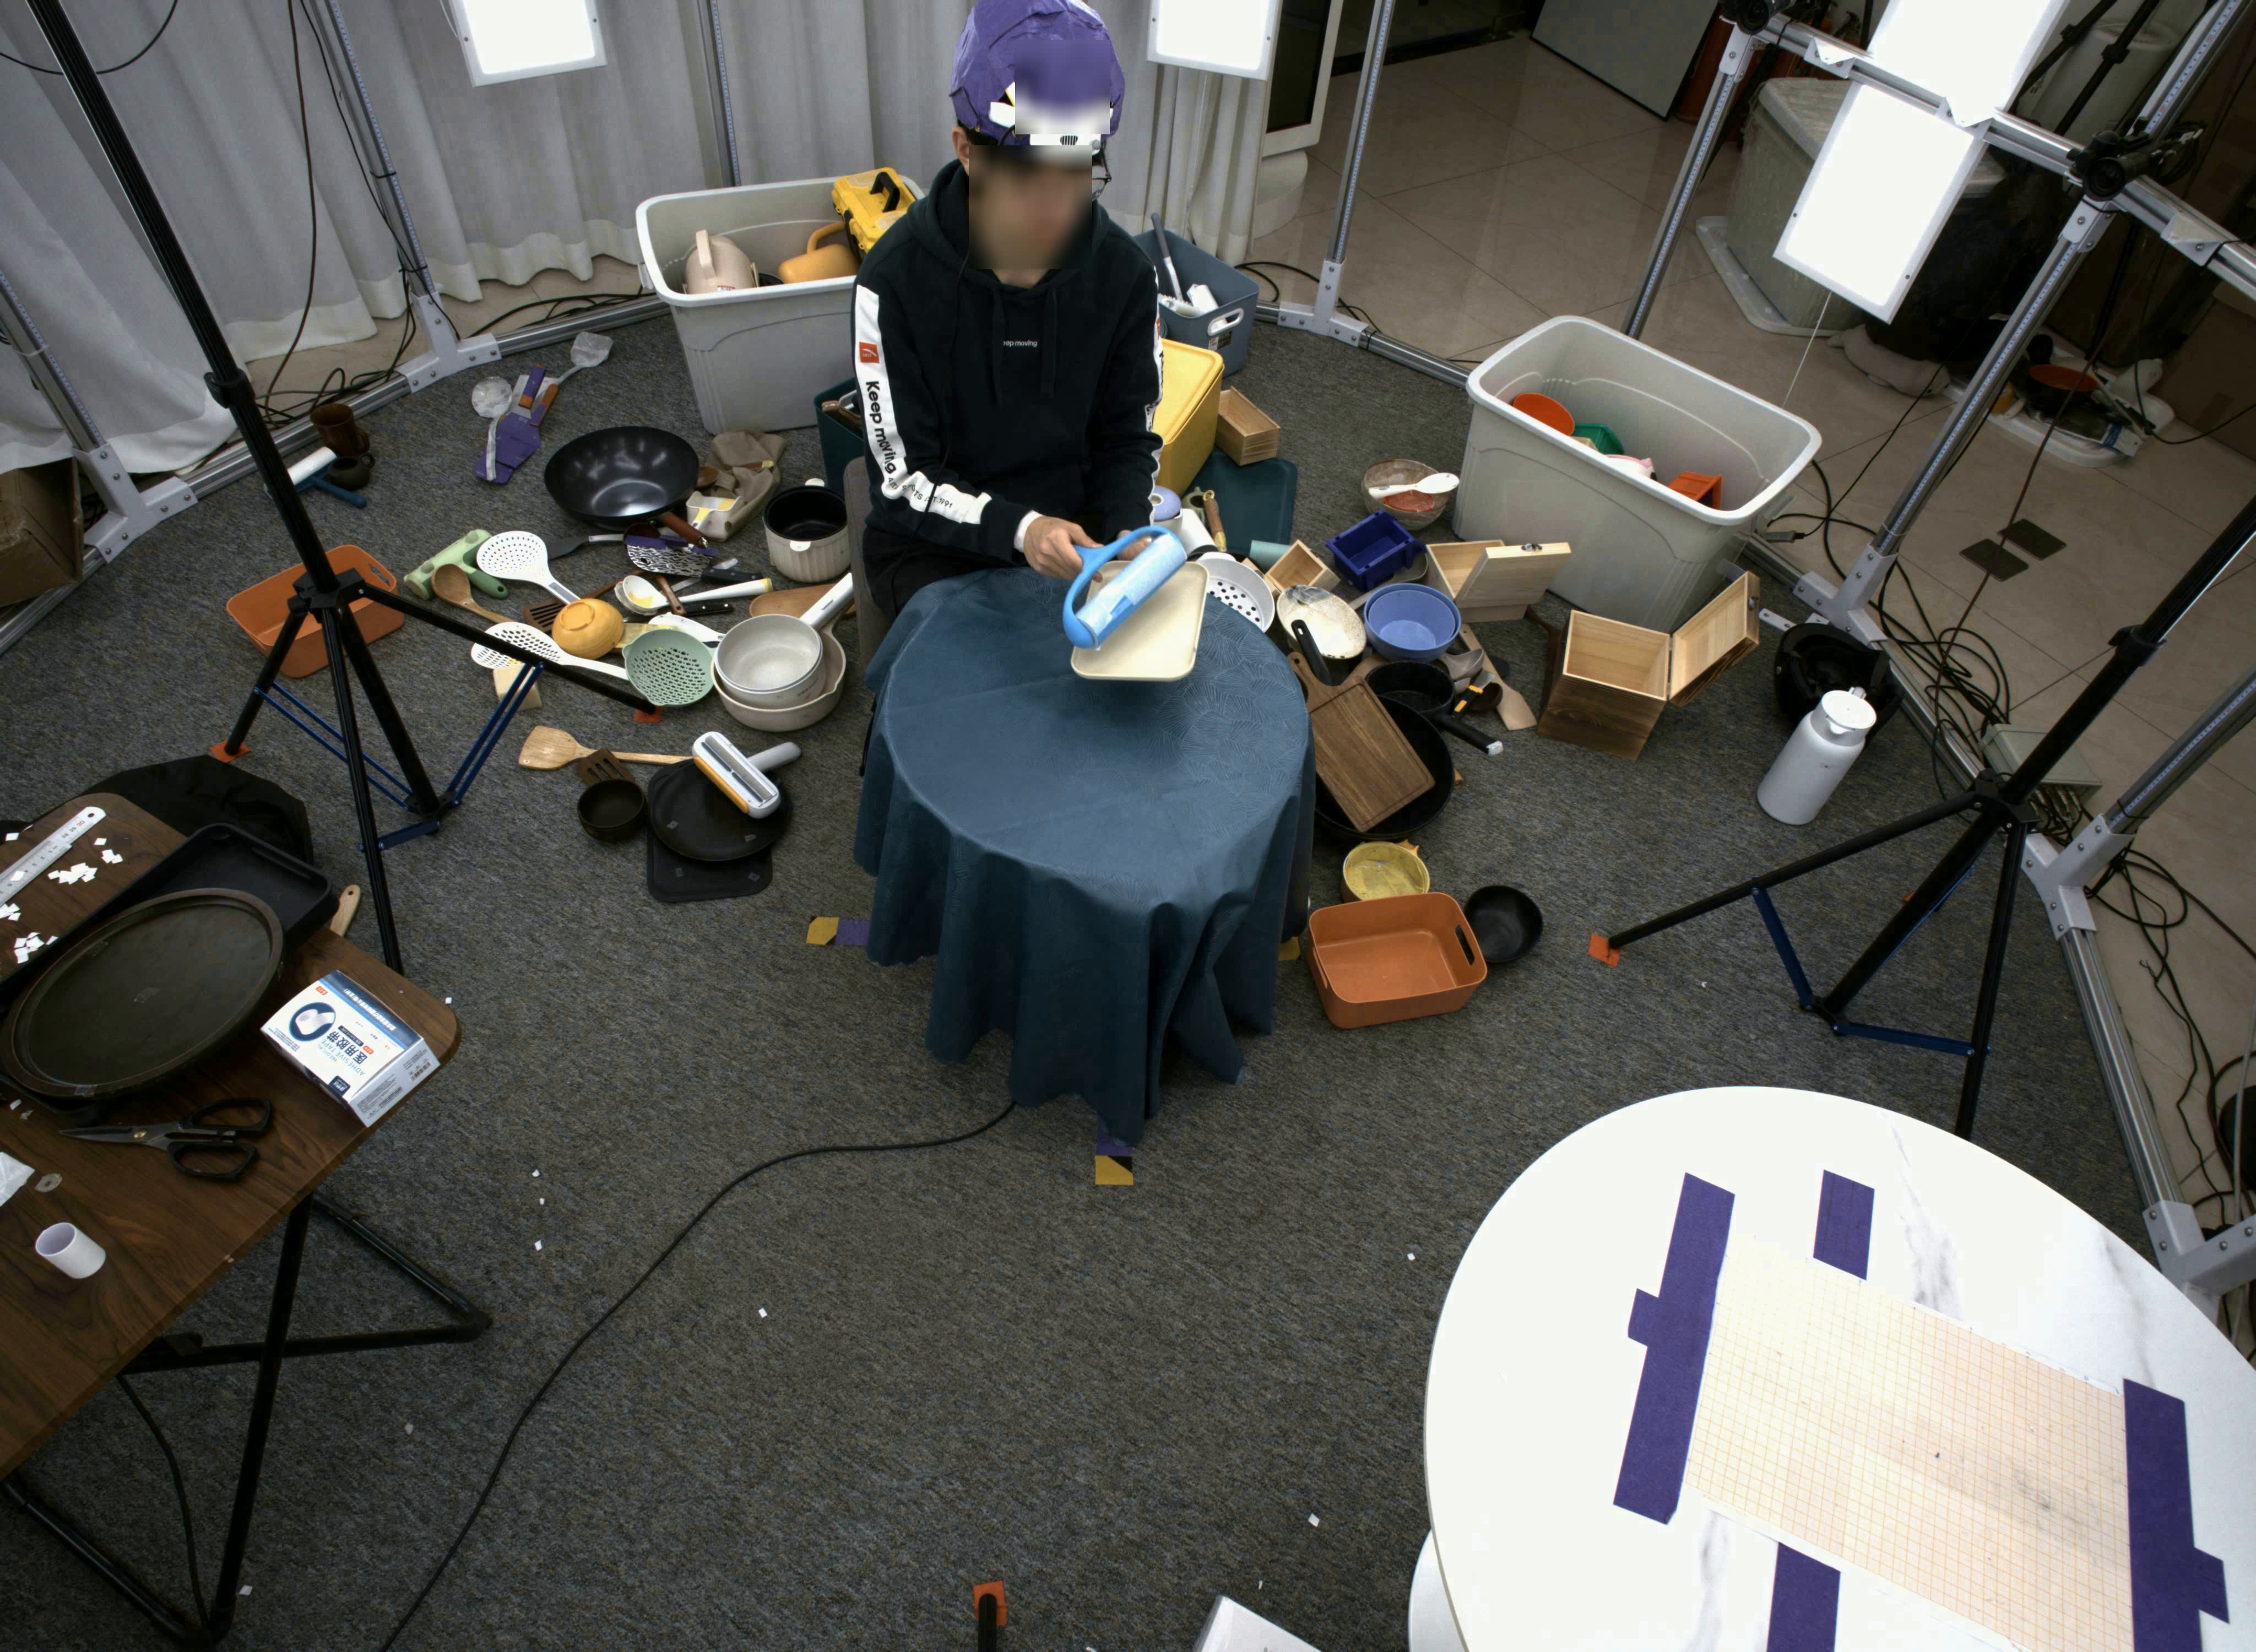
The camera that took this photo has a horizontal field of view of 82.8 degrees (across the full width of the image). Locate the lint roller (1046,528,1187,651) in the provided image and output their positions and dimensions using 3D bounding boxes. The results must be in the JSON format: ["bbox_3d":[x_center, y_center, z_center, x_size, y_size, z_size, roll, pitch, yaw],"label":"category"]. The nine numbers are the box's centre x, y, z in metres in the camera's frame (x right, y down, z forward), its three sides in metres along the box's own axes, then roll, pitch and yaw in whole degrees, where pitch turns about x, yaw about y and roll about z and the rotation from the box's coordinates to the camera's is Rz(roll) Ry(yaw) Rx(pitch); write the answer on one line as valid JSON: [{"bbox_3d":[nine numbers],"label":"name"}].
[{"bbox_3d":[-0.045,-0.350,1.790,0.182,0.066,0.231,30,64,21],"label":"lint roller"}]

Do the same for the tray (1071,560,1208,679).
[{"bbox_3d":[0.019,-0.290,1.799,0.171,0.017,0.245,2,49,12],"label":"tray"}]
